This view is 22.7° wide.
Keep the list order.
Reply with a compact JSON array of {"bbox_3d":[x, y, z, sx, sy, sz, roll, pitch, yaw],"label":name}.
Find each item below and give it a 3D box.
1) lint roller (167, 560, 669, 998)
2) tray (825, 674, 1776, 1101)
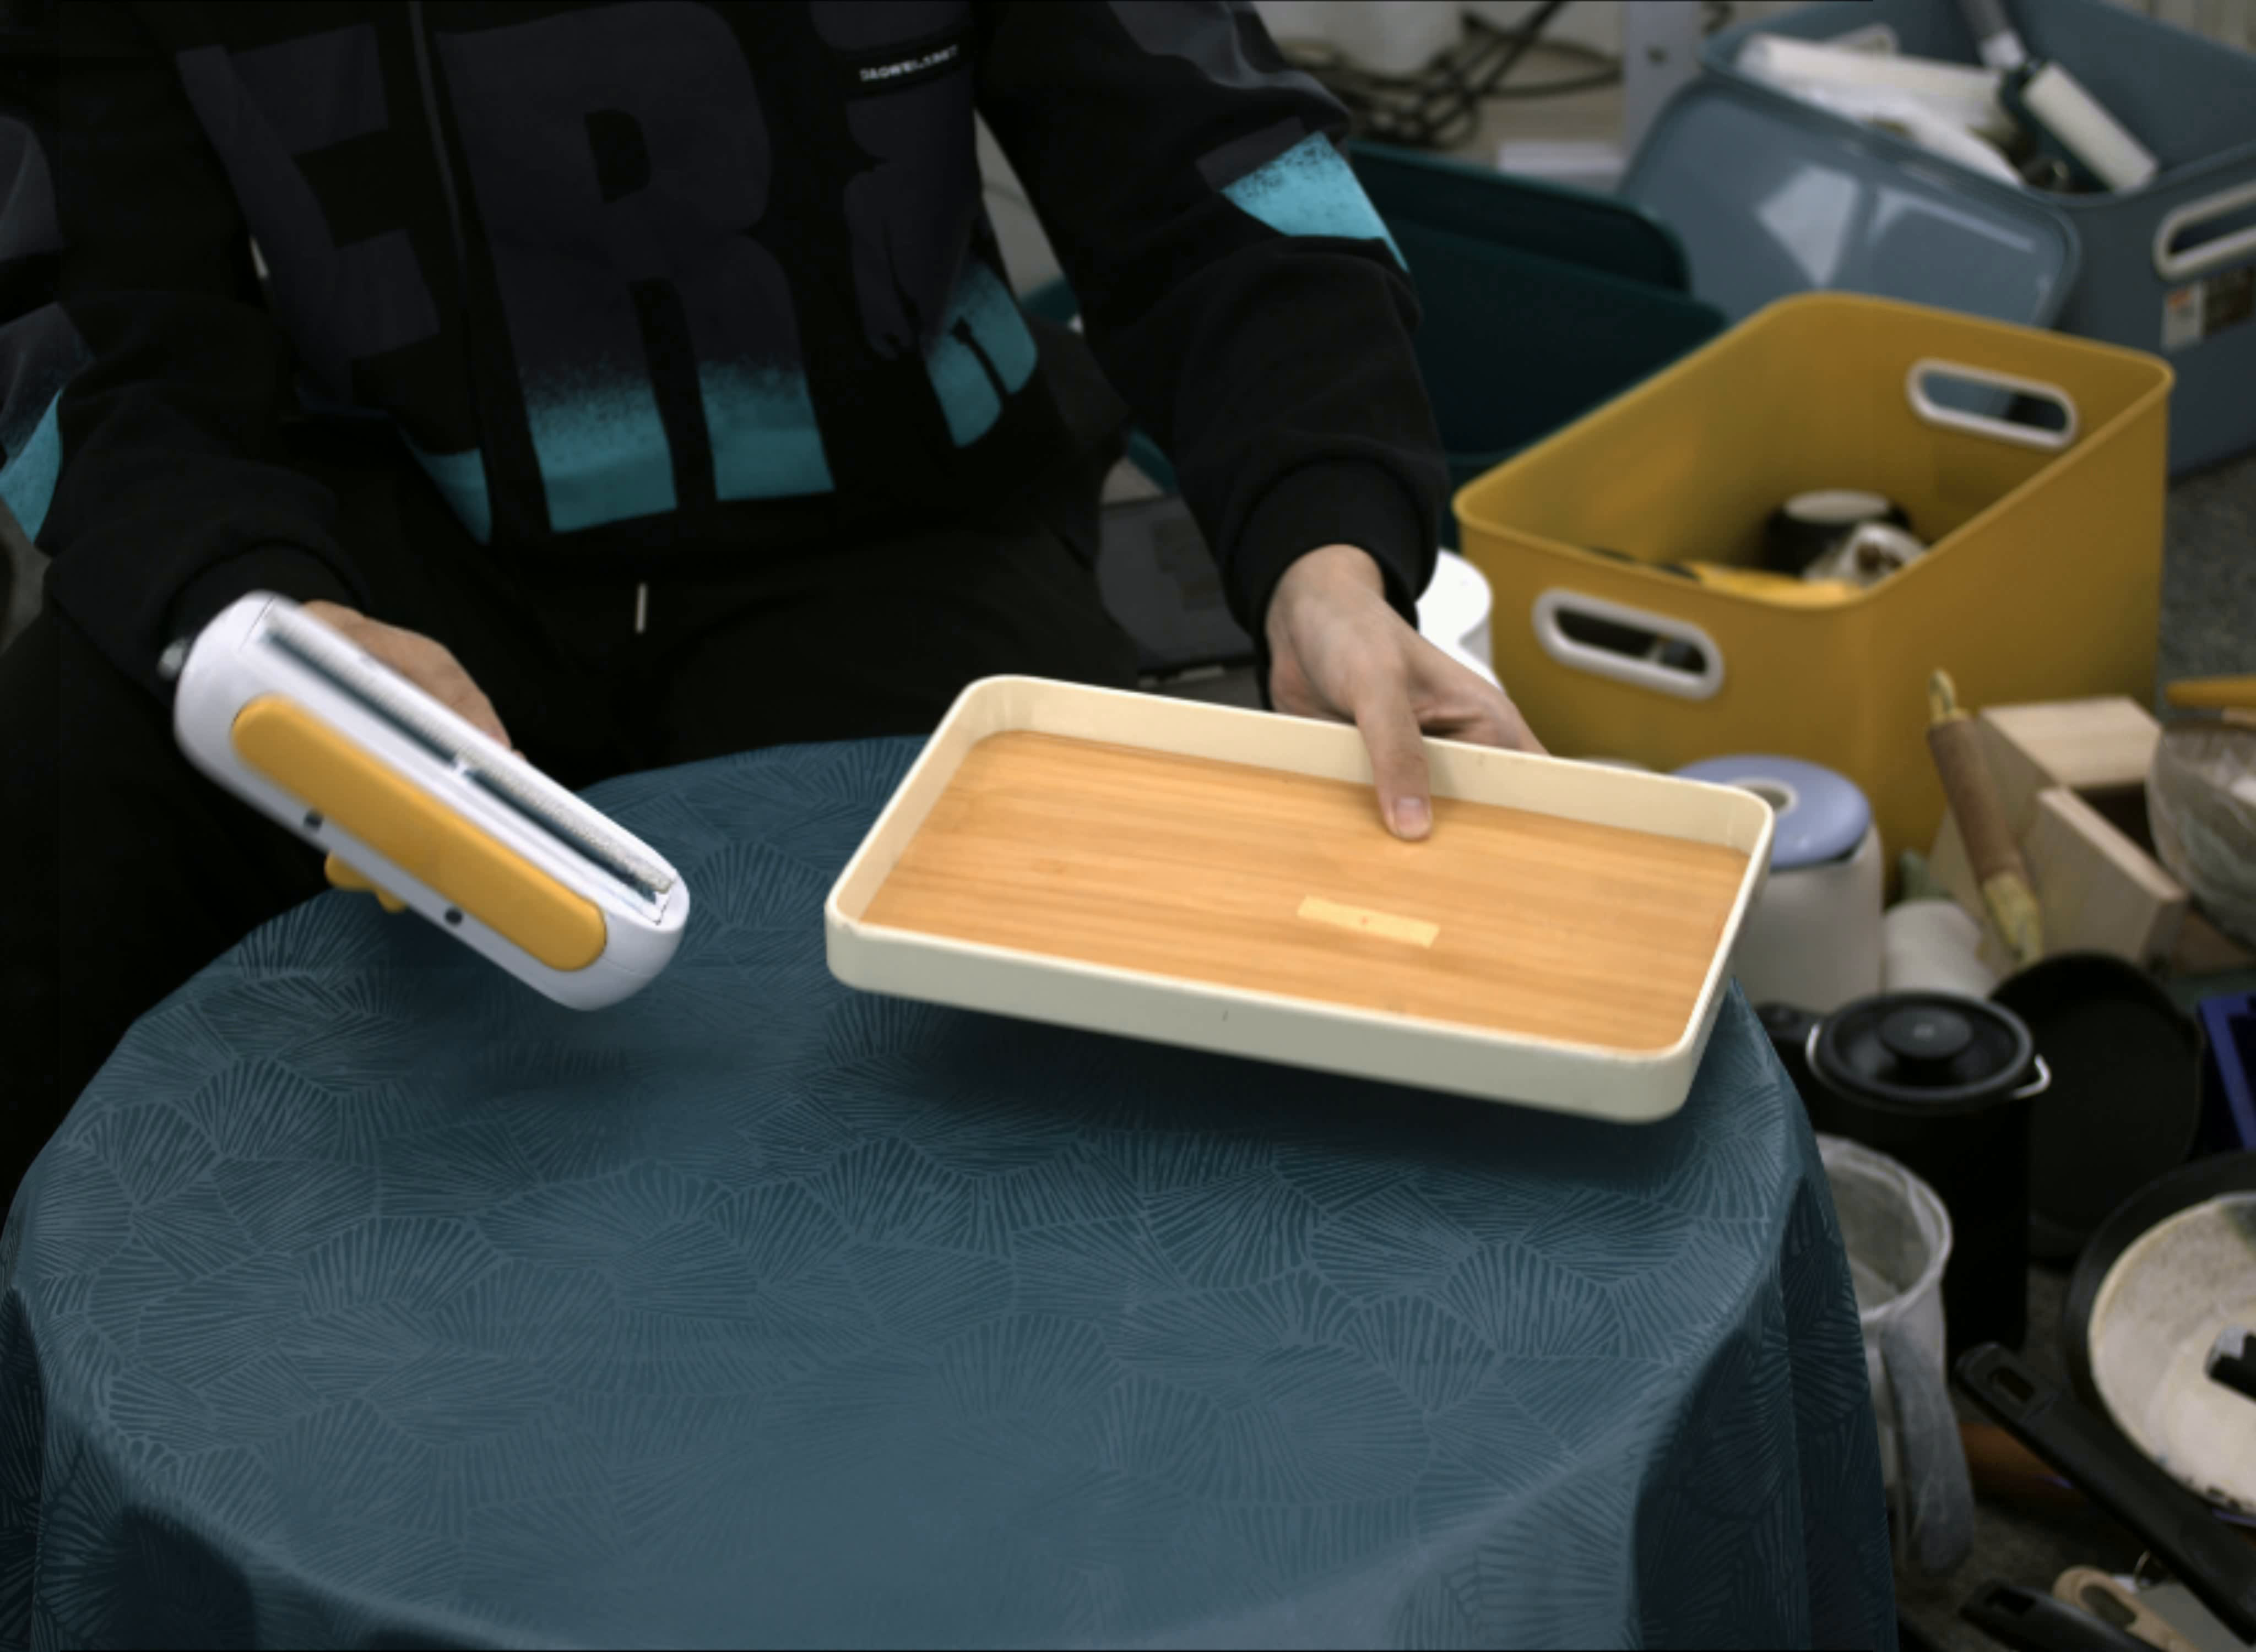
[{"bbox_3d":[-0.244,-0.021,1.969,0.192,0.074,0.194,34,10,-6],"label":"lint roller"},{"bbox_3d":[0.061,0.018,1.934,0.298,0.027,0.195,9,28,12],"label":"tray"}]
